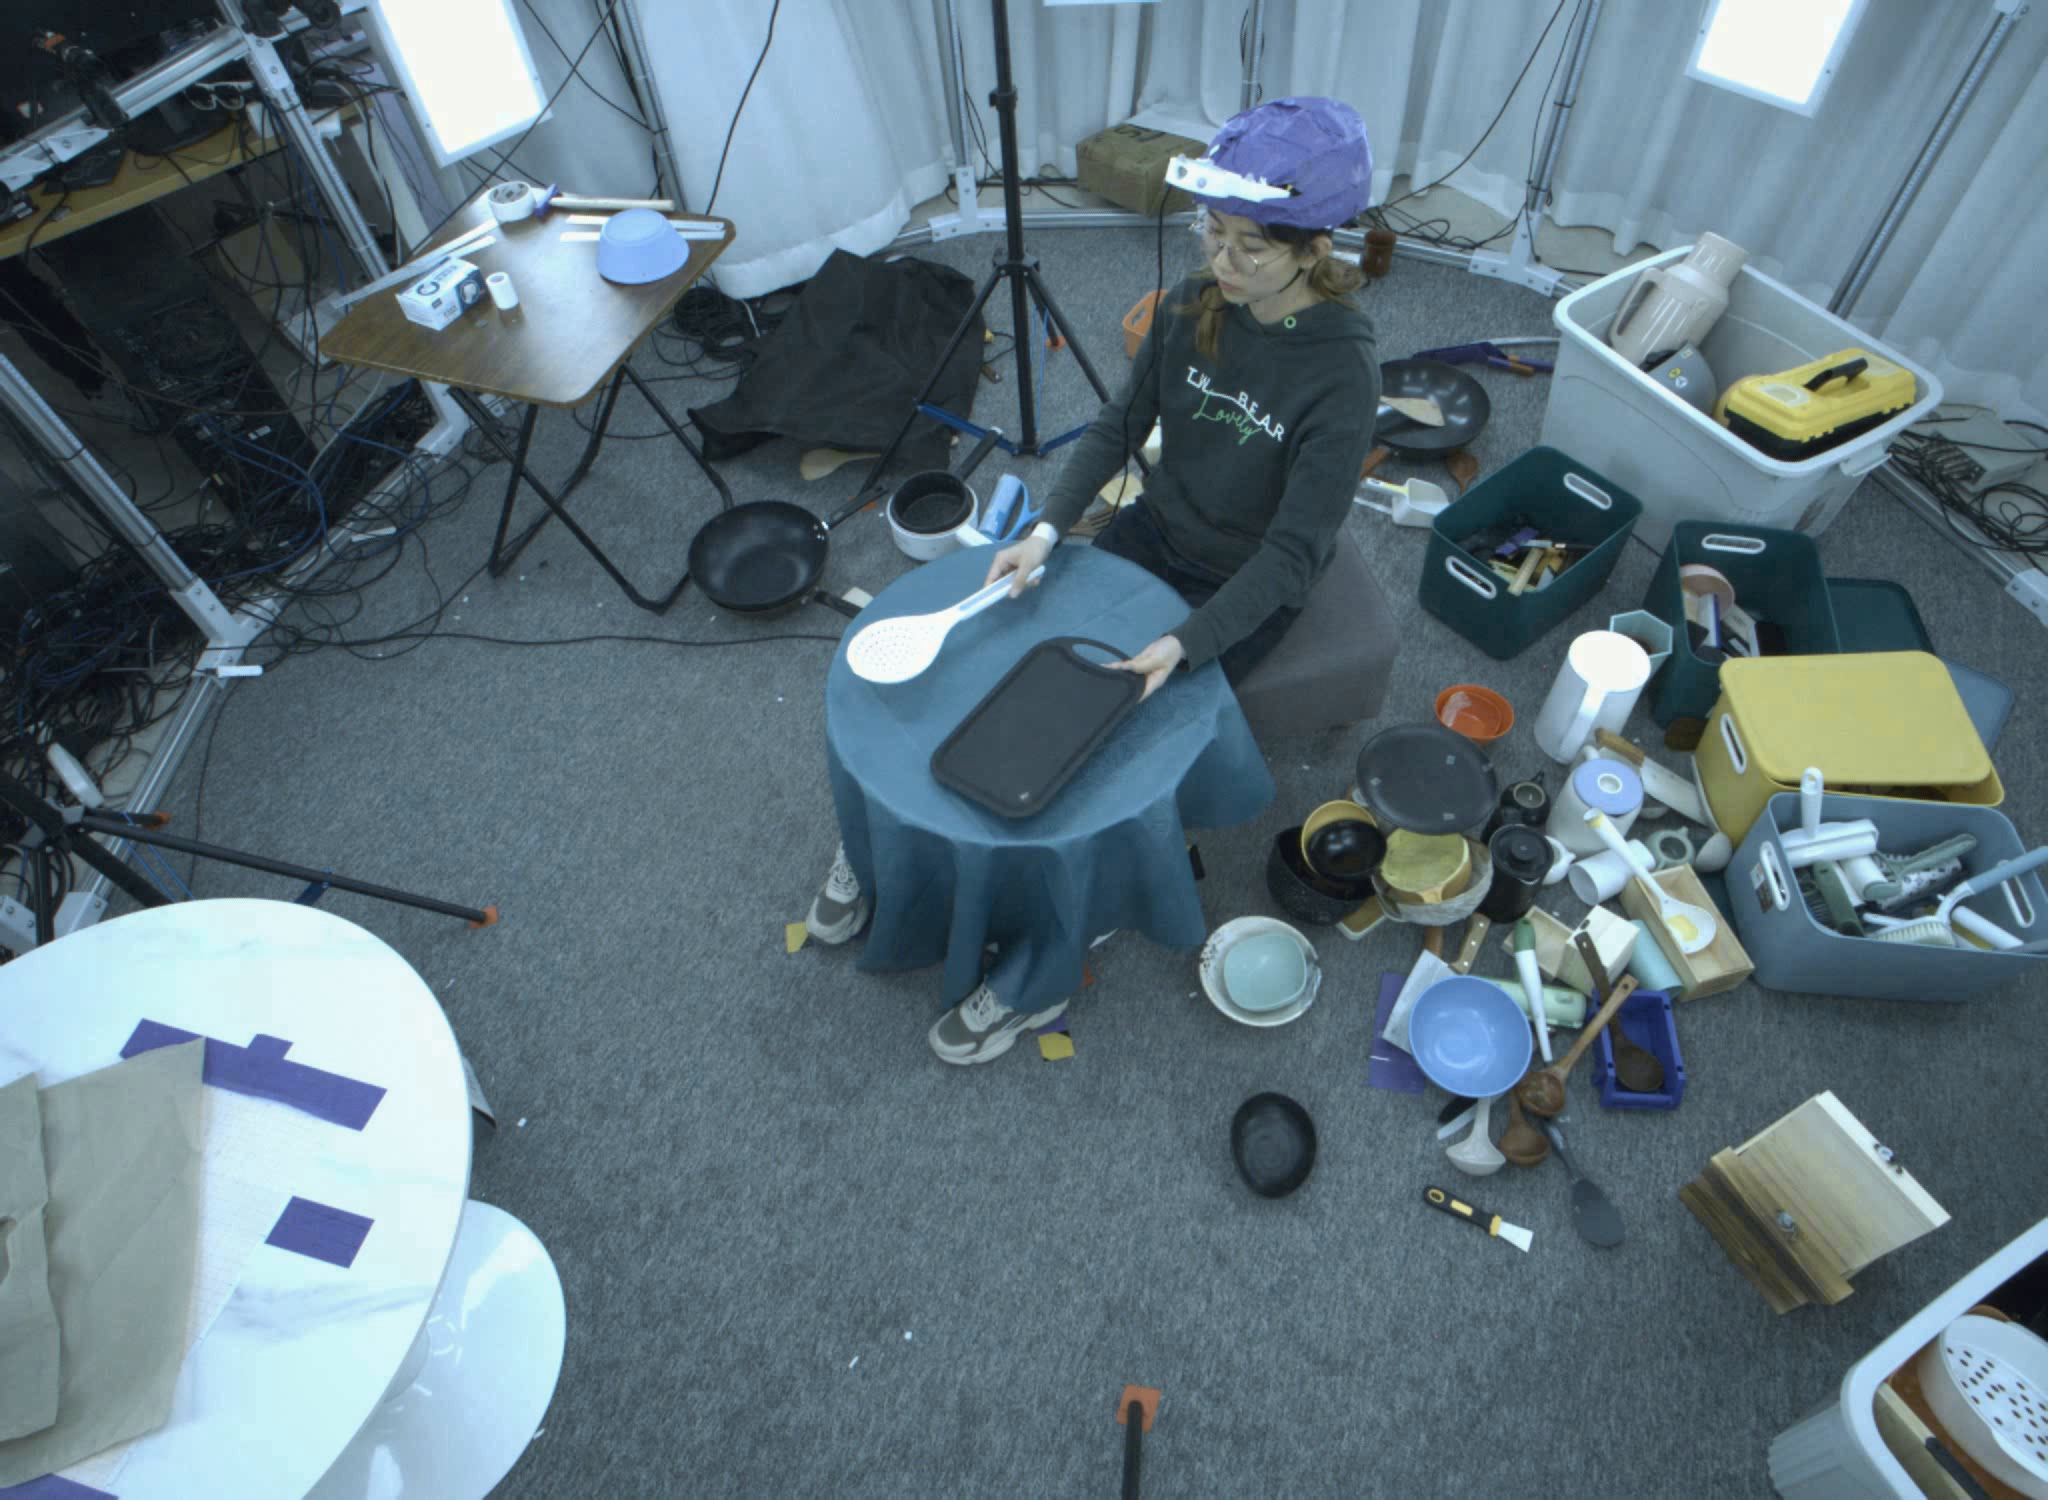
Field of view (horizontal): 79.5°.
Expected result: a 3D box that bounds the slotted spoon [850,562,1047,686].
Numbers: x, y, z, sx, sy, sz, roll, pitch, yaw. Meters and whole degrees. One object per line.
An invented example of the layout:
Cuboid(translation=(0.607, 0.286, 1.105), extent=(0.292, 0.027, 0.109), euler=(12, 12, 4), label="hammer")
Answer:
Cuboid(translation=(-0.108, -0.198, 1.867), extent=(0.352, 0.046, 0.133), euler=(-36, 57, -18), label="slotted spoon")

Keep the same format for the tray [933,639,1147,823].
Cuboid(translation=(0.028, -0.041, 1.774), extent=(0.206, 0.010, 0.327), euler=(28, 64, 32), label="tray")
